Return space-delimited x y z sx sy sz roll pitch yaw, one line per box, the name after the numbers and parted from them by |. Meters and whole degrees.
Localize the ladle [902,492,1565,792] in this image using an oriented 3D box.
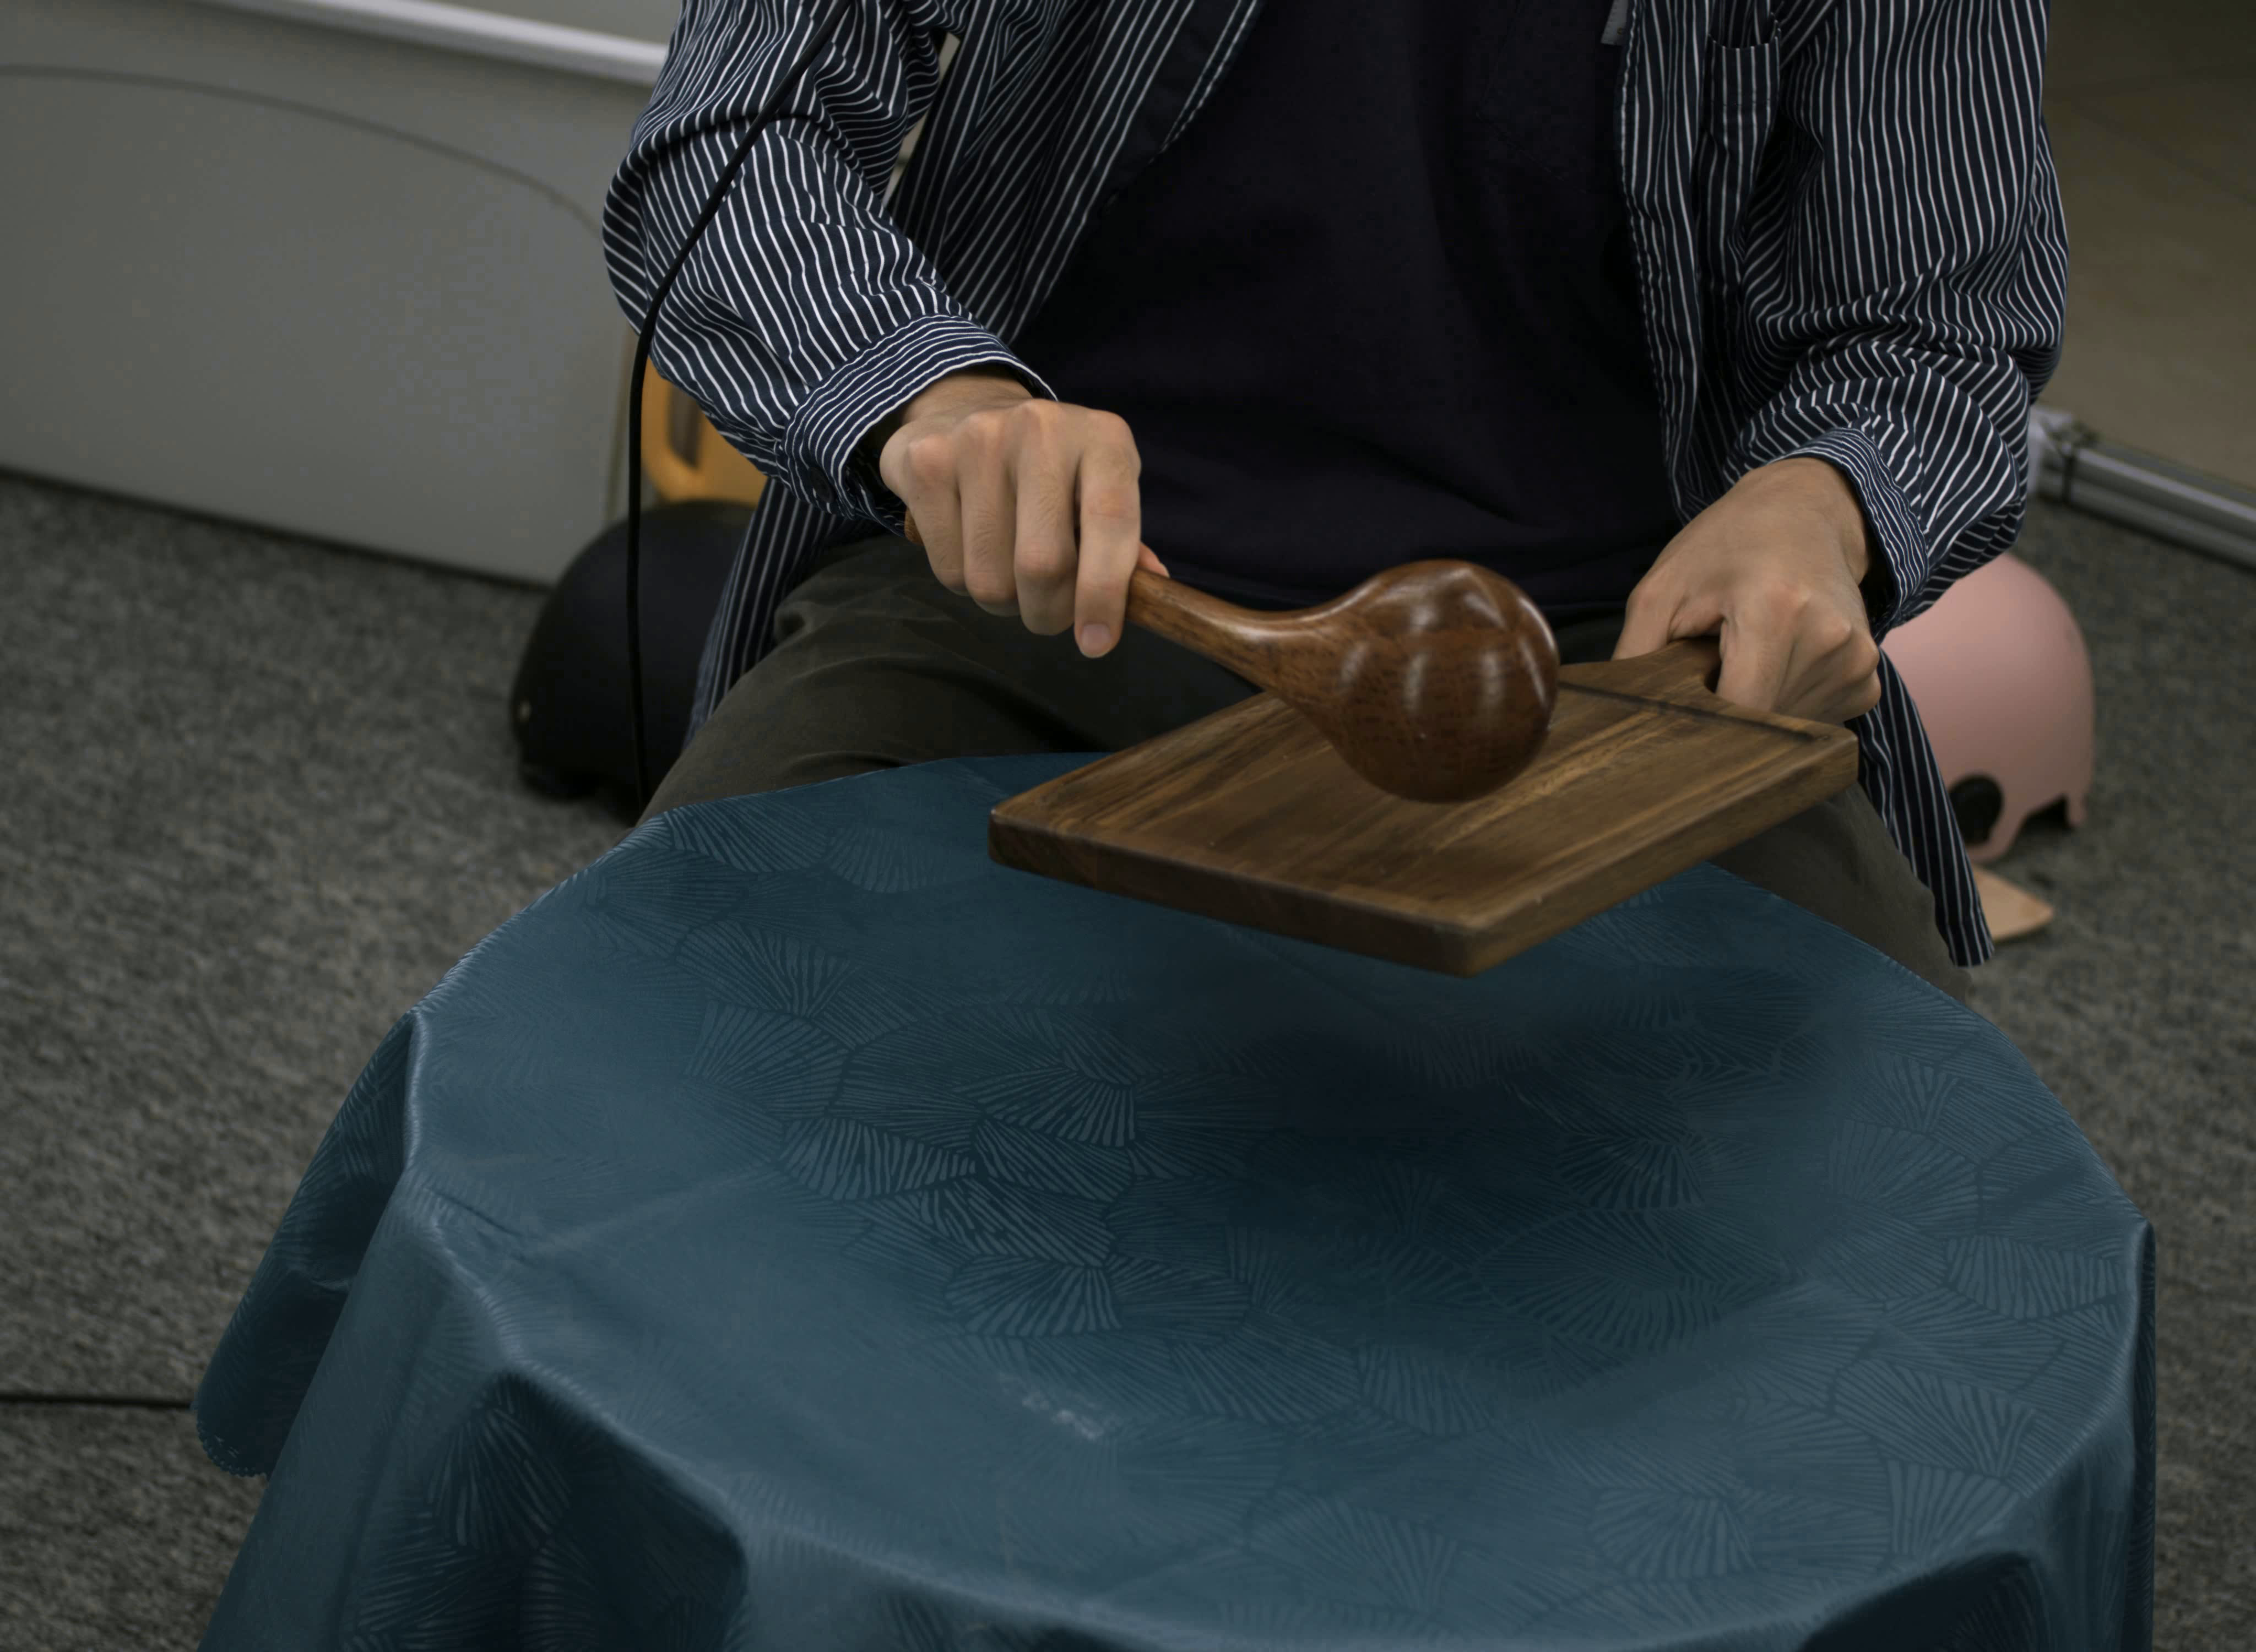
0.035 -0.077 1.797 0.076 0.082 0.276 3 12 -40 | ladle

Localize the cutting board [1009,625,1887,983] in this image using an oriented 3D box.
0.141 -0.019 1.830 0.202 0.023 0.350 13 22 36 | cutting board
